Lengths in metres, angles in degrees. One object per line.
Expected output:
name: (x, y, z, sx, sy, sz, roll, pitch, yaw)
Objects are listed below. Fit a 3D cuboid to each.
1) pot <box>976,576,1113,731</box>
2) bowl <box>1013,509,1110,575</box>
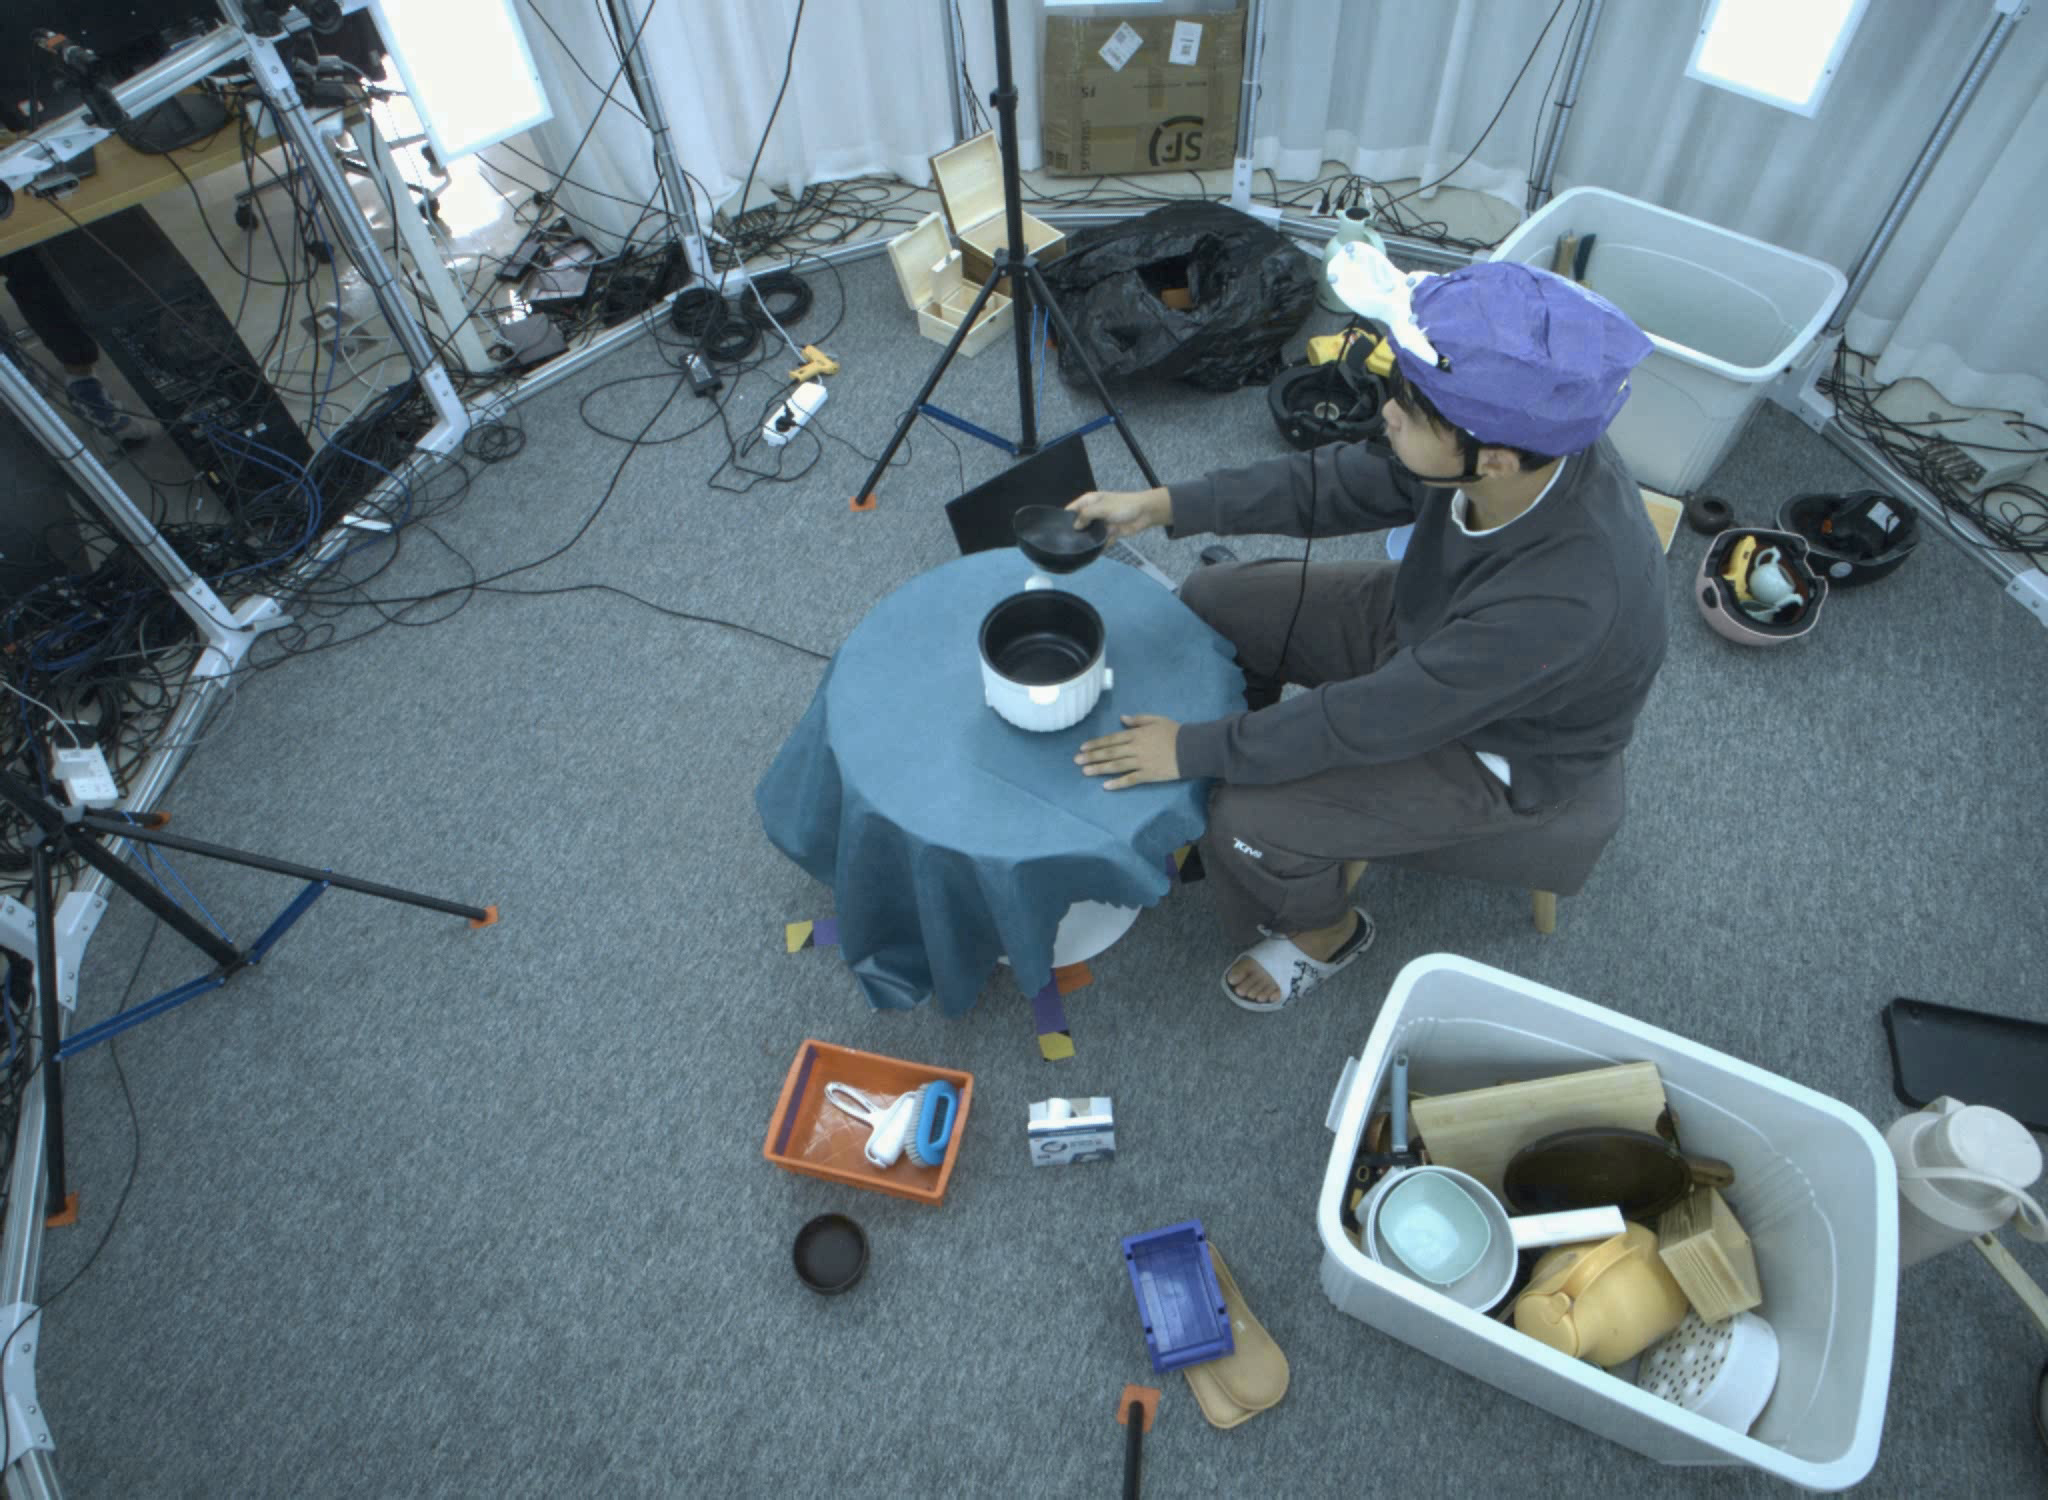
pot: (0.032, -0.125, 1.790, 0.190, 0.144, 0.237, -5, 56, 2)
bowl: (0.048, -0.292, 1.744, 0.137, 0.067, 0.170, 14, 33, 4)
